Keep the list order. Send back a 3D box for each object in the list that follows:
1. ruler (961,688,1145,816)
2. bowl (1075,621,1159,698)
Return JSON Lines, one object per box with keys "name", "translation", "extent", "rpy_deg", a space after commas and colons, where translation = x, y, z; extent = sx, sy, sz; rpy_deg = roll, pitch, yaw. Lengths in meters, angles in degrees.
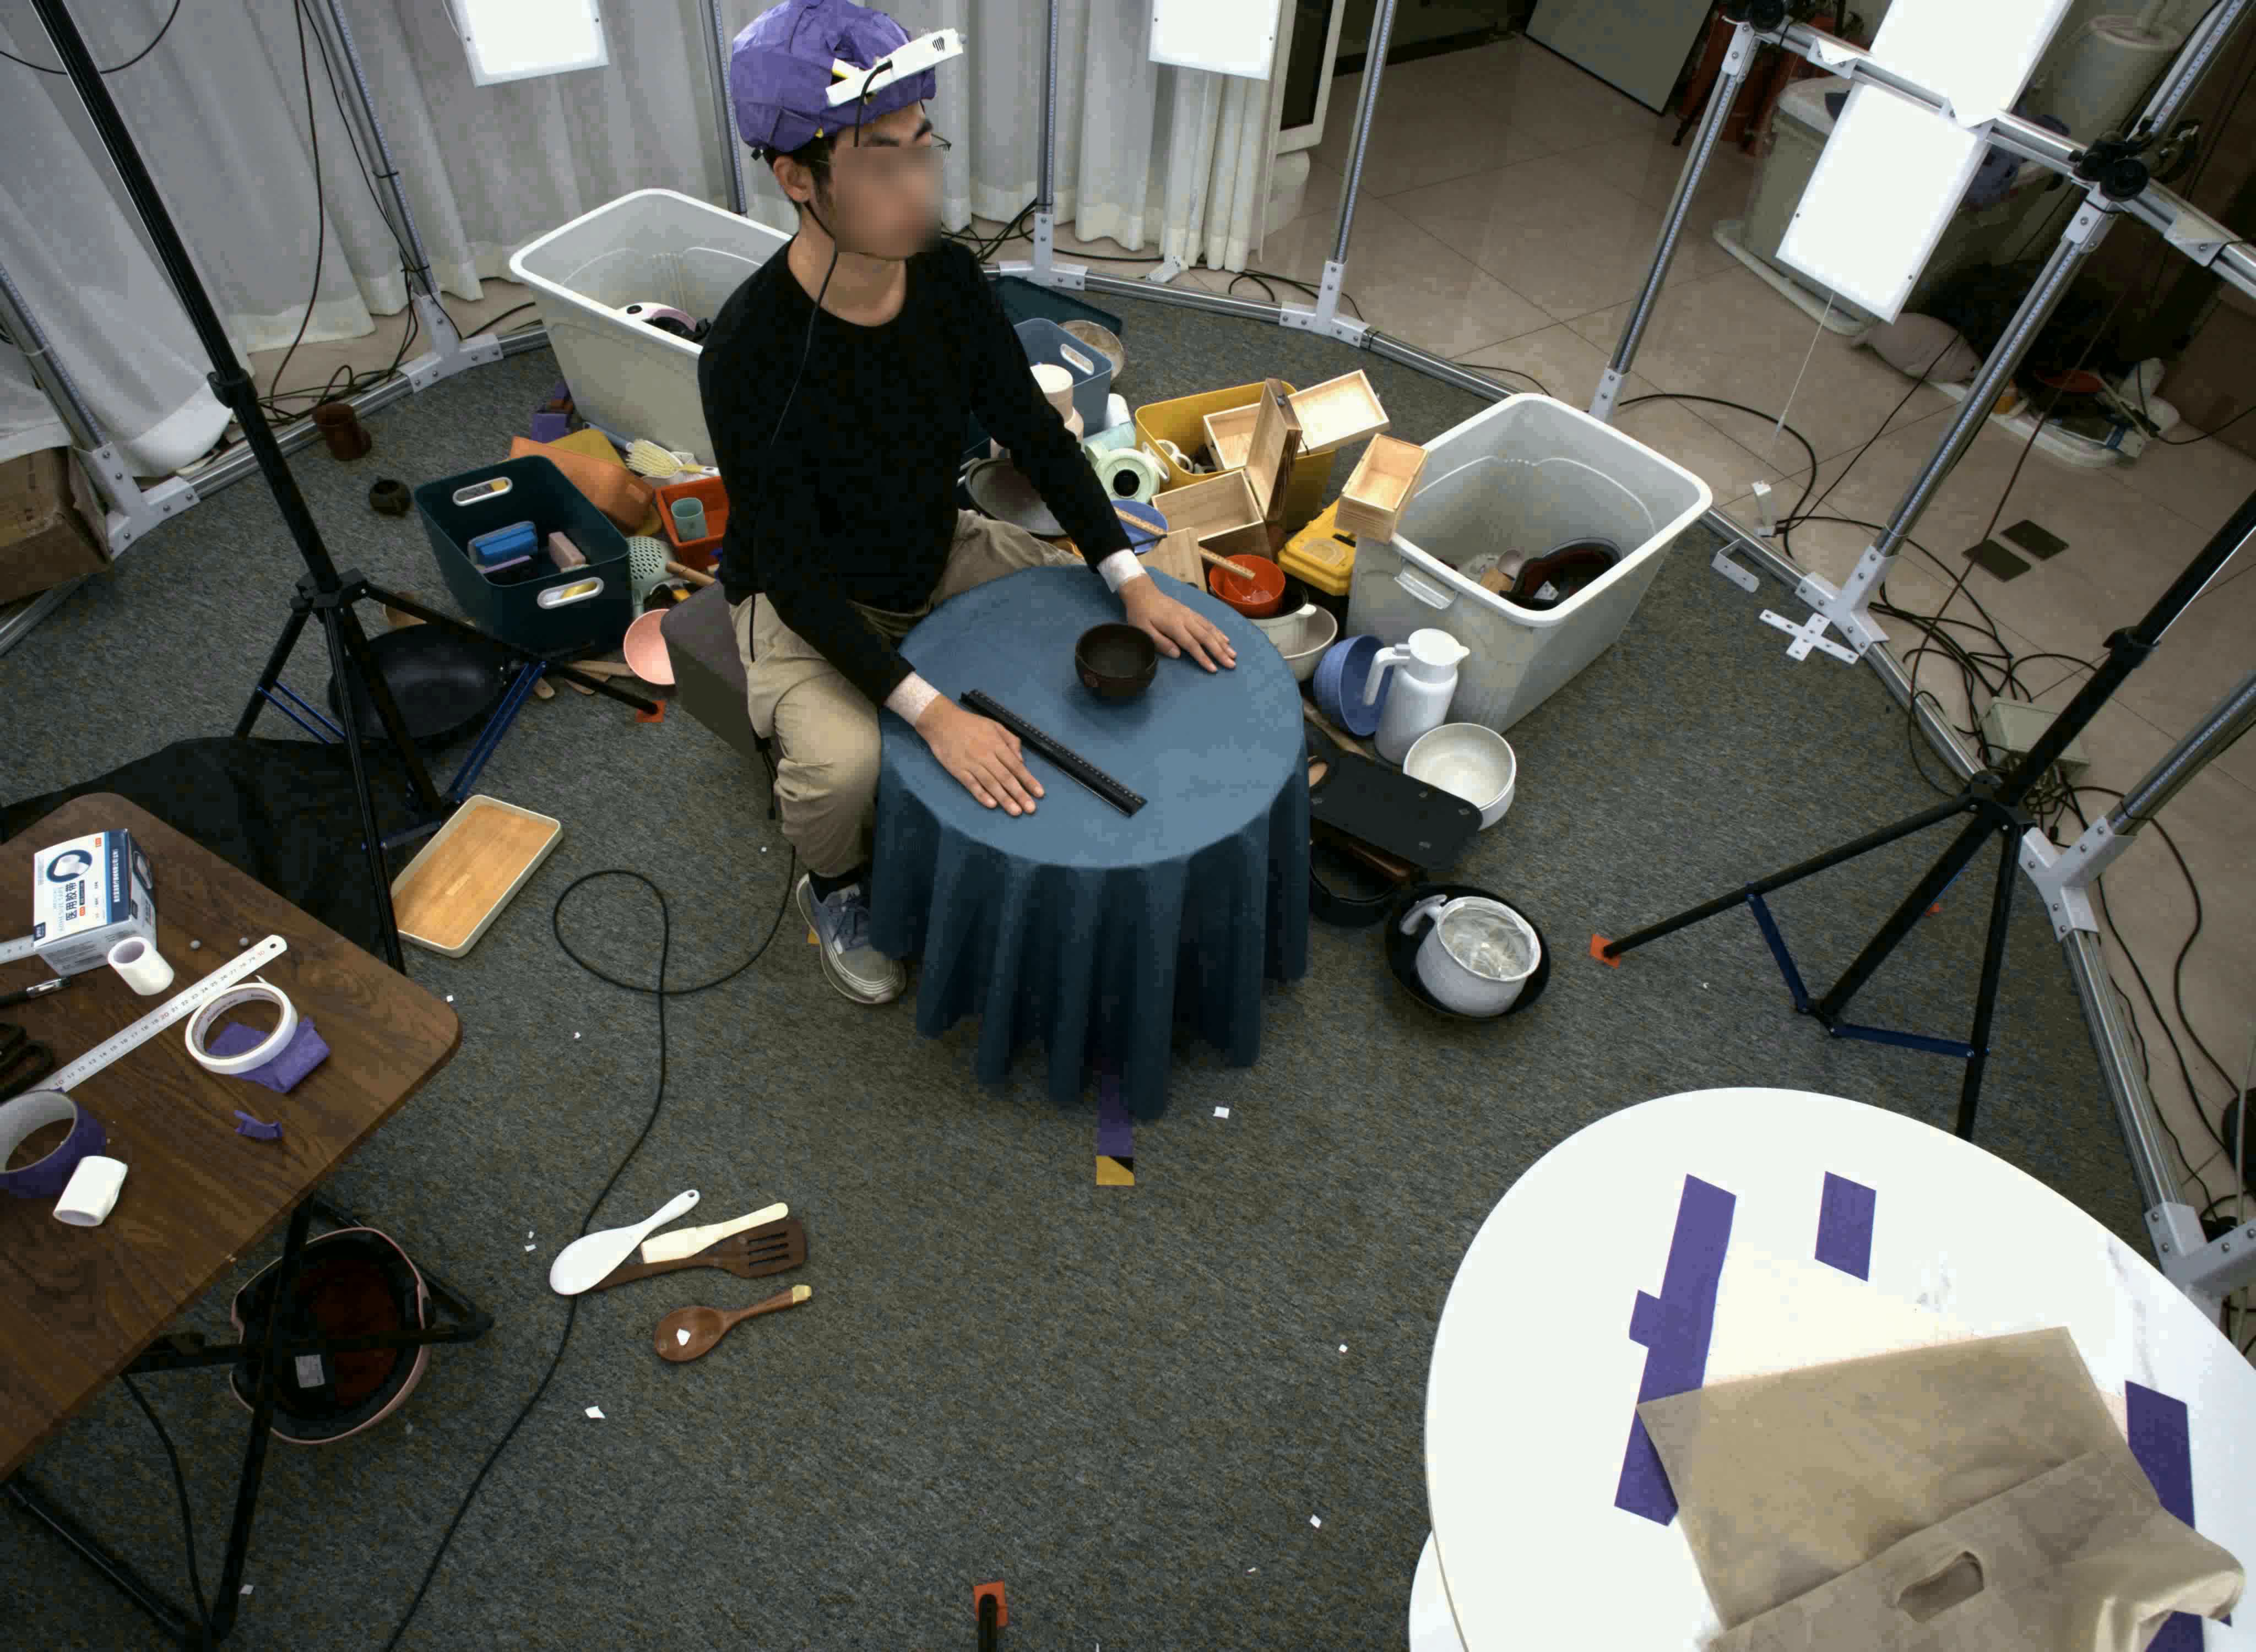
{"name": "ruler", "translation": [-0.104, -0.109, 1.747], "extent": [0.316, 0.017, 0.040], "rpy_deg": [35, 51, 24]}
{"name": "bowl", "translation": [-0.017, -0.228, 1.819], "extent": [0.118, 0.068, 0.121], "rpy_deg": [3, 49, -3]}
